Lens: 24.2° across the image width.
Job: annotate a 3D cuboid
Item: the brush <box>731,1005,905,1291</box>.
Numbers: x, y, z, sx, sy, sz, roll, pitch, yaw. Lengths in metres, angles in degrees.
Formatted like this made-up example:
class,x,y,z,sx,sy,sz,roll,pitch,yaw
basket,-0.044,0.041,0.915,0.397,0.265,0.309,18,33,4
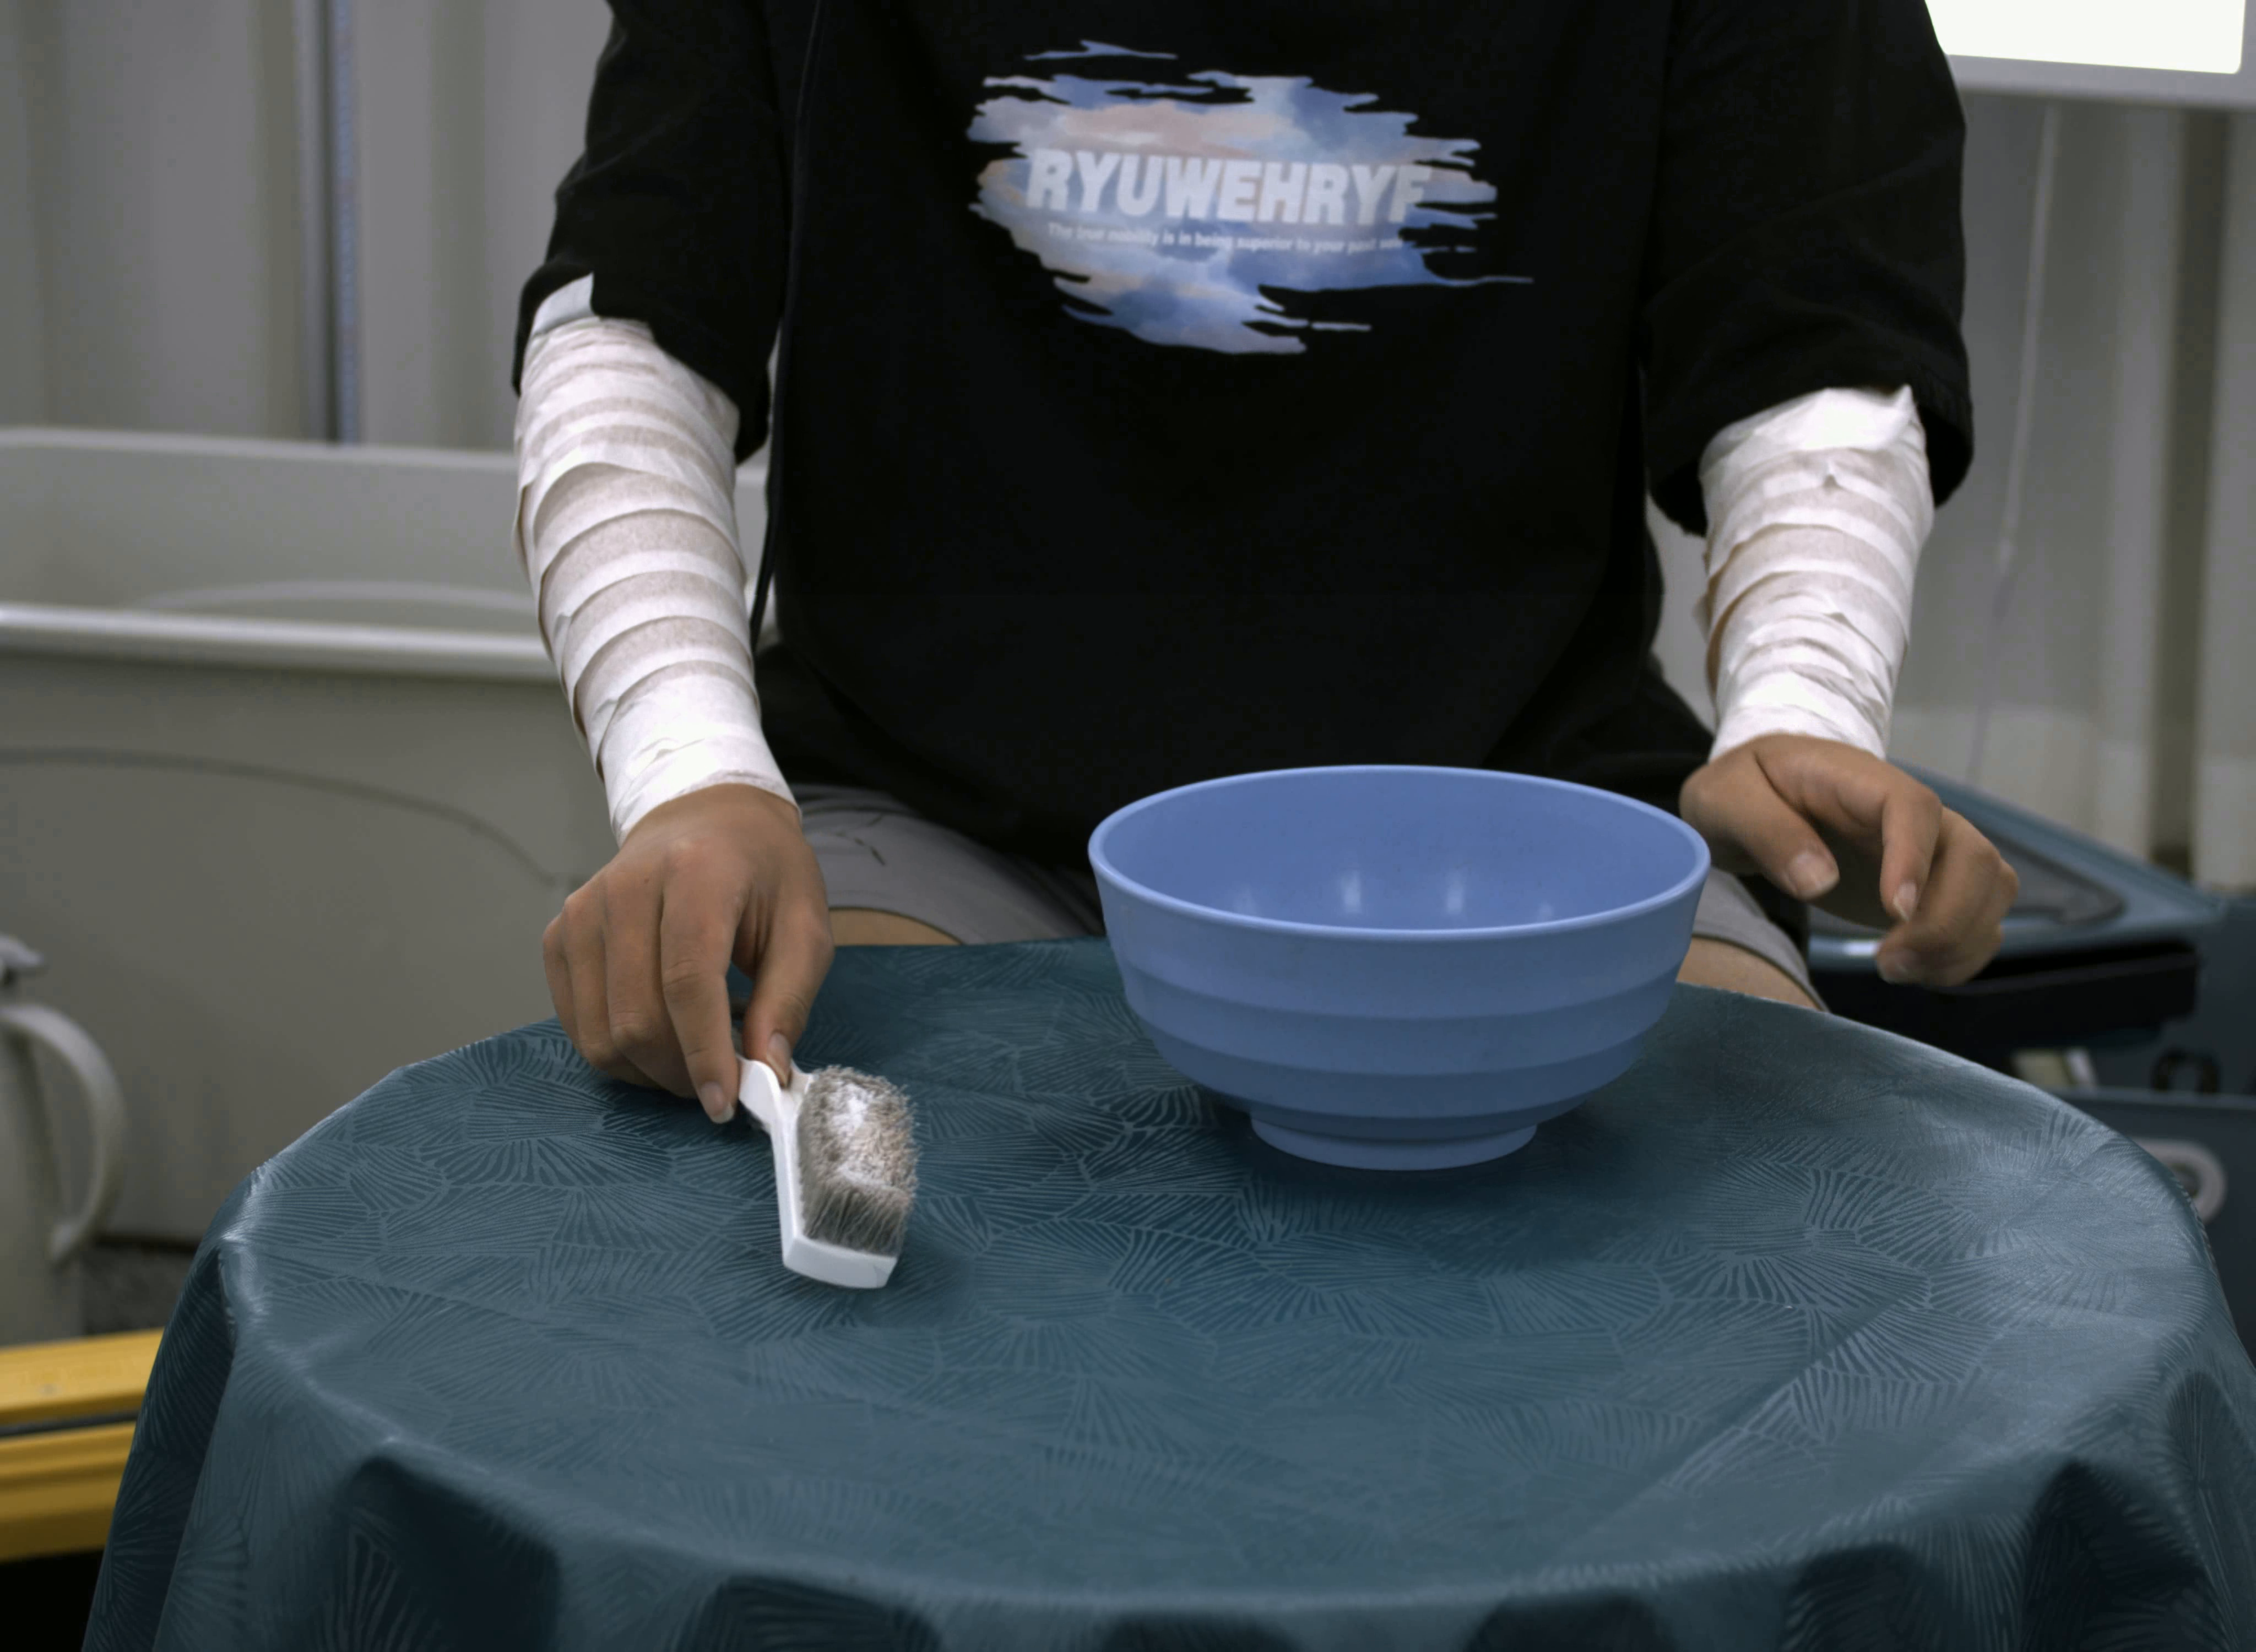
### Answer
class,x,y,z,sx,sy,sz,roll,pitch,yaw
brush,-0.098,0.080,1.628,0.034,0.050,0.241,13,14,-12

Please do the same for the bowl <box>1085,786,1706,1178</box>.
class,x,y,z,sx,sy,sz,roll,pitch,yaw
bowl,0.085,0.053,1.675,0.196,0.096,0.195,-1,14,1
